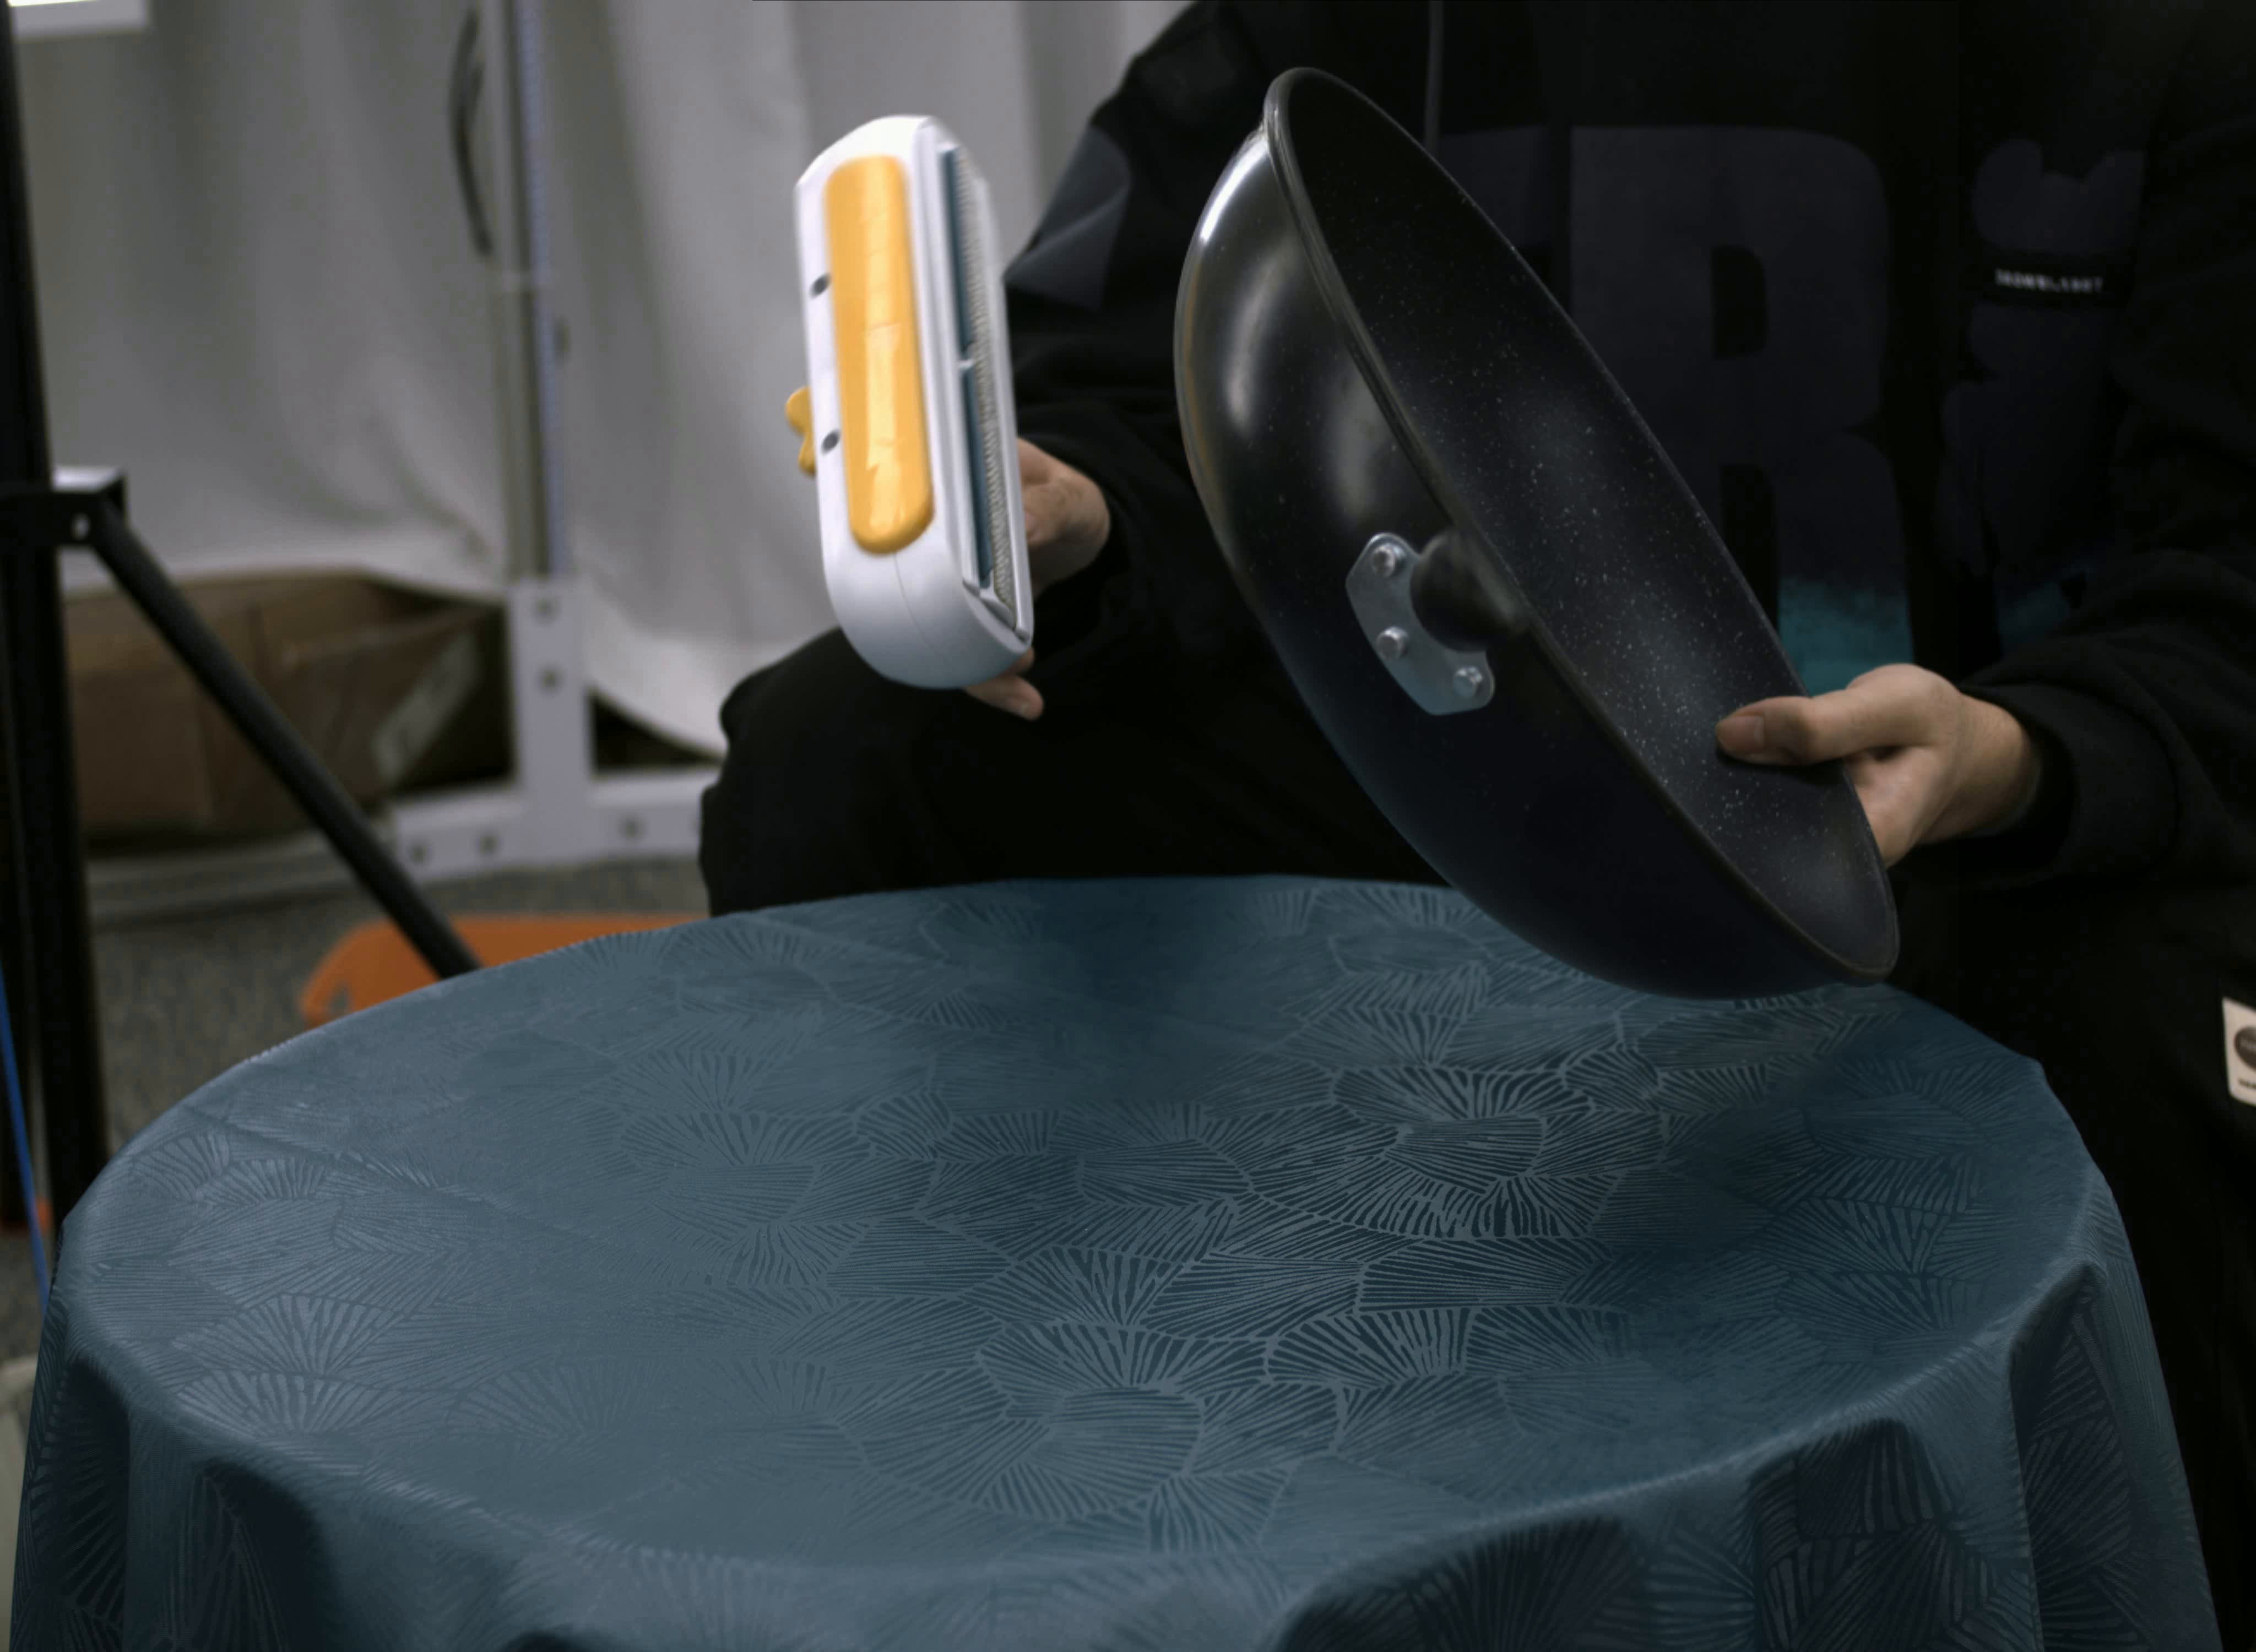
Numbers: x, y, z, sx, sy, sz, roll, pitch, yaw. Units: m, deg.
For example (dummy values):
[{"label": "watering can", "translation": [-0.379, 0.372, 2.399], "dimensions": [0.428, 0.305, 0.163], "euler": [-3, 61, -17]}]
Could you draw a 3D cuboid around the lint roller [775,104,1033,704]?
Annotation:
[{"label": "lint roller", "translation": [-0.056, -0.106, 1.706], "dimensions": [0.074, 0.189, 0.196], "euler": [-19, 55, 11]}]

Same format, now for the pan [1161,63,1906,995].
[{"label": "pan", "translation": [0.090, -0.062, 1.440], "dimensions": [0.112, 0.311, 0.472], "euler": [-36, -2, 16]}]
